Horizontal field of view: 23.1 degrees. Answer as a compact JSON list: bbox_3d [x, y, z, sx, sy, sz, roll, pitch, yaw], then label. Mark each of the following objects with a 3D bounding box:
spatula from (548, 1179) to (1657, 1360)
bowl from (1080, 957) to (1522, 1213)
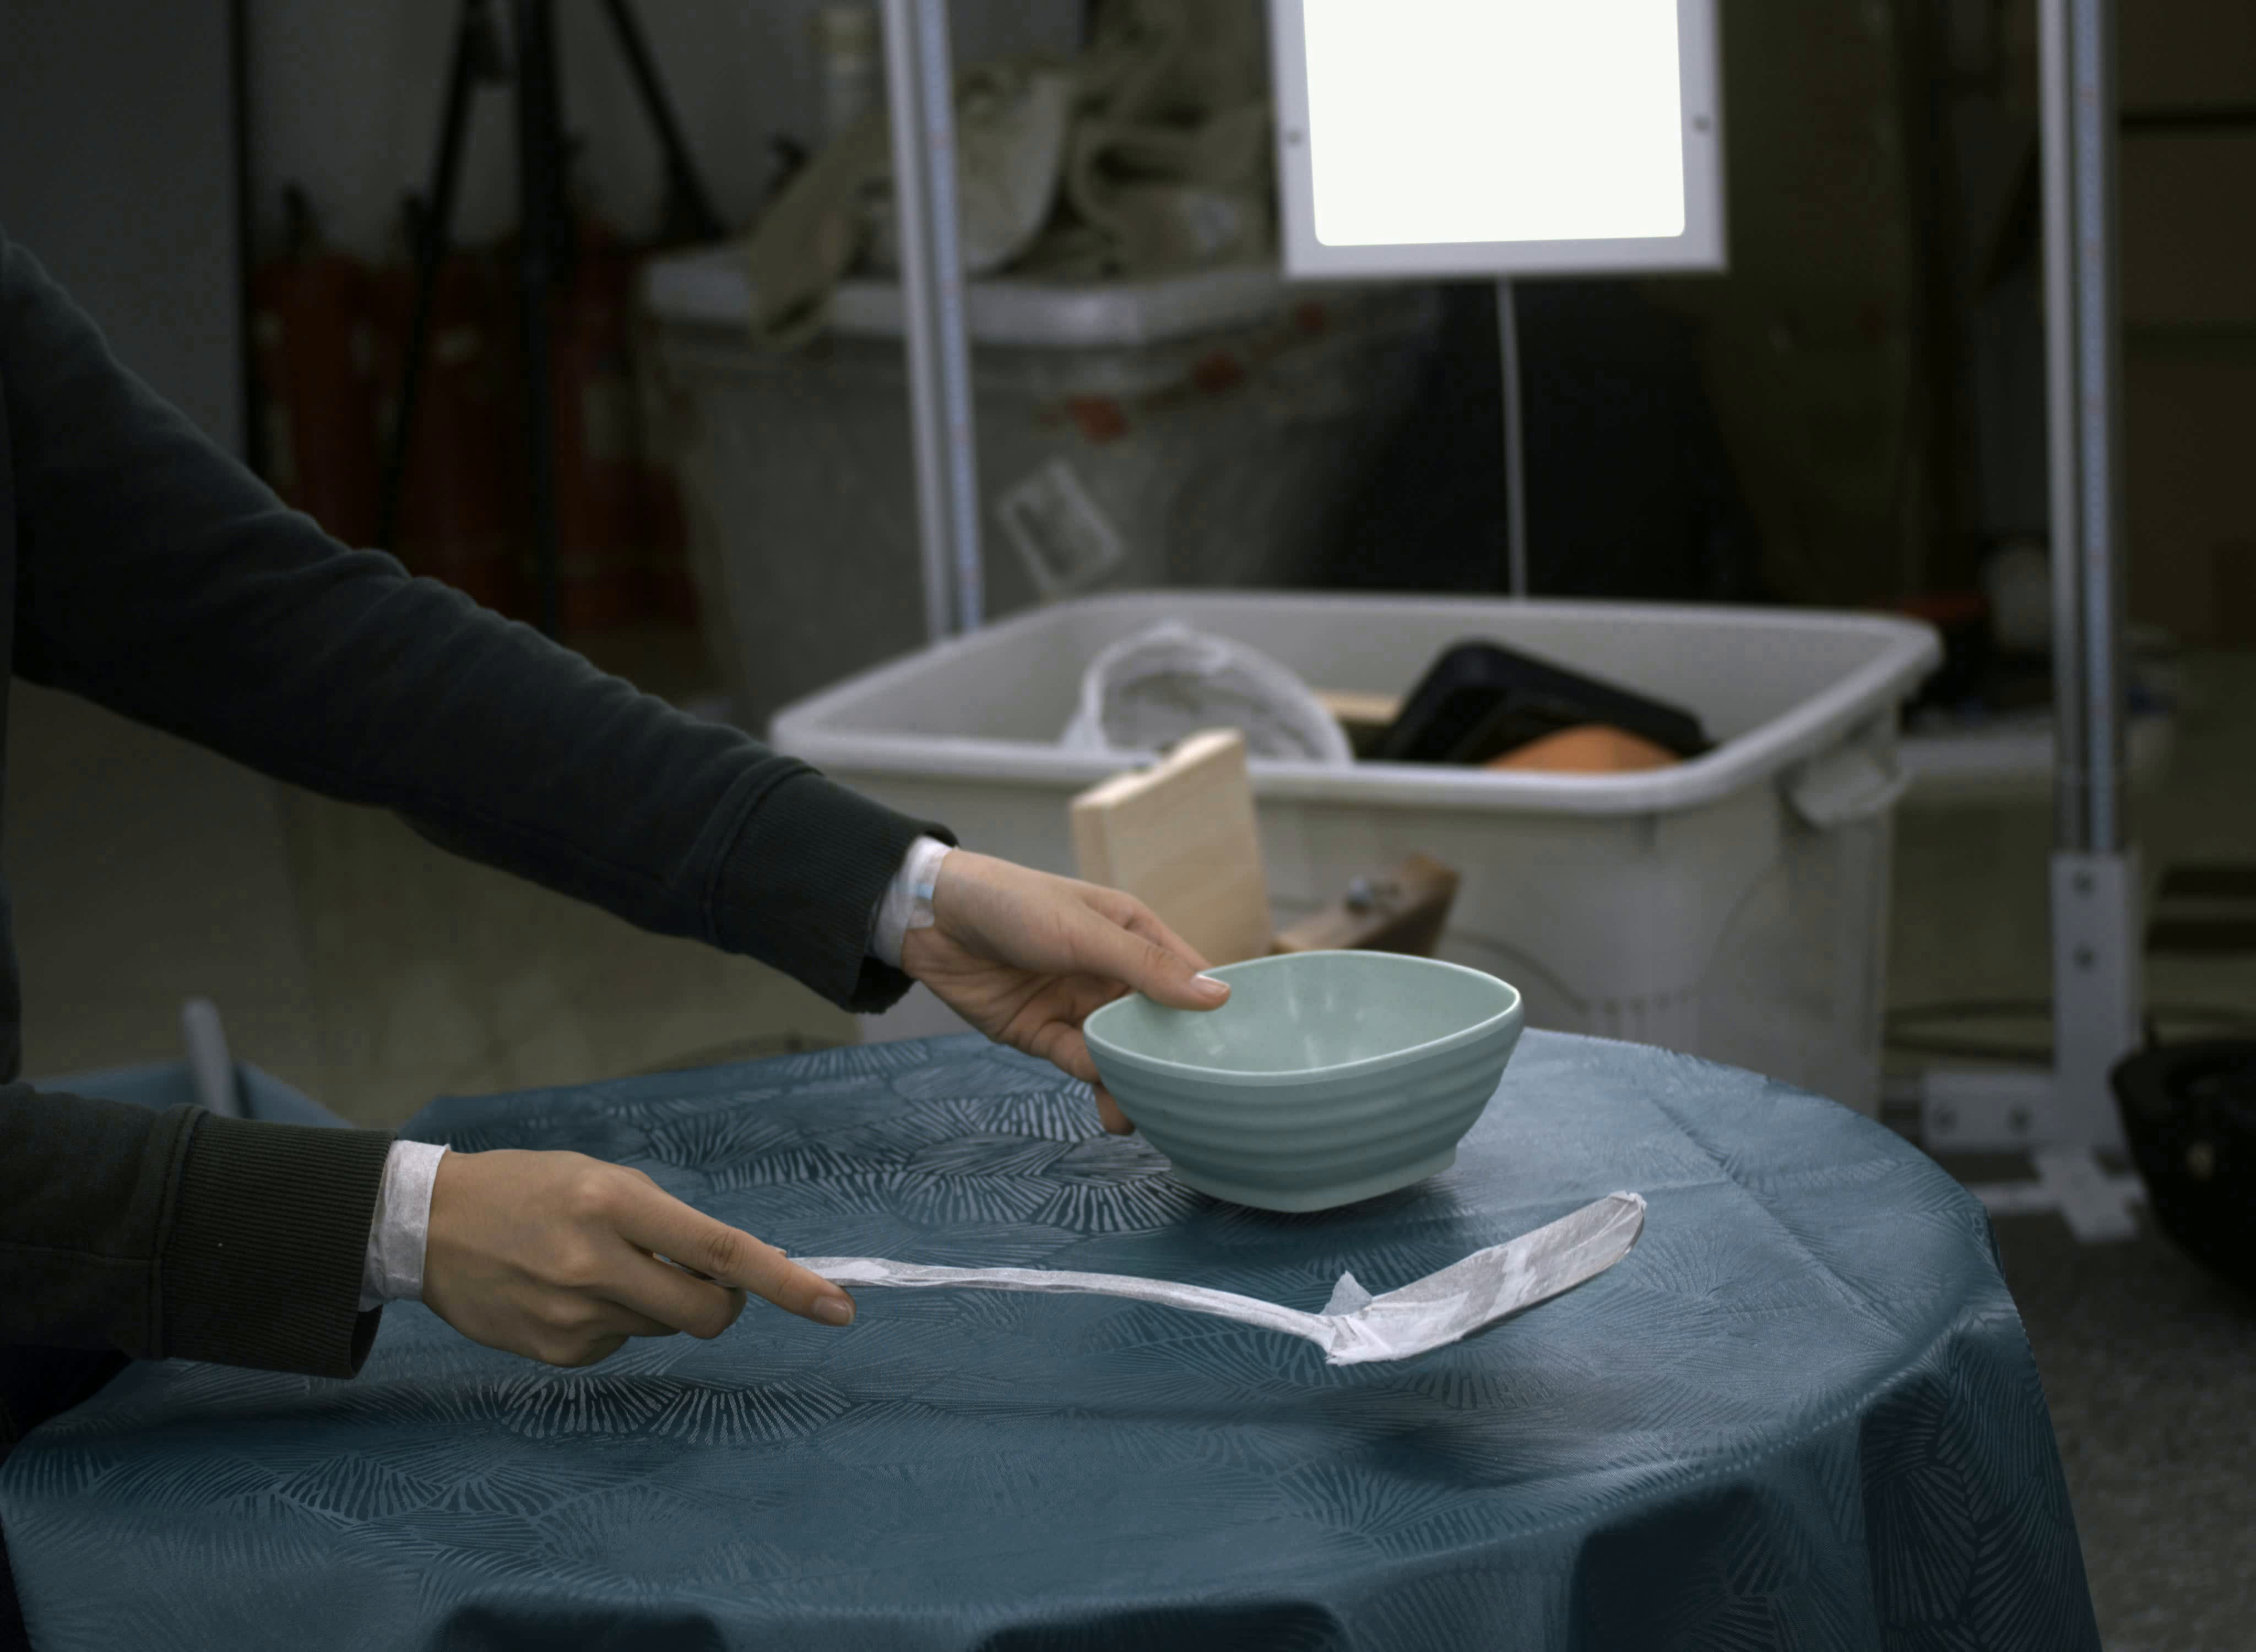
[{"bbox_3d":[-0.018,0.134,1.694,0.369,0.045,0.097,1,17,20],"label":"spatula"},{"bbox_3d":[0.060,0.091,1.878,0.151,0.059,0.151,-3,13,-1],"label":"bowl"}]
